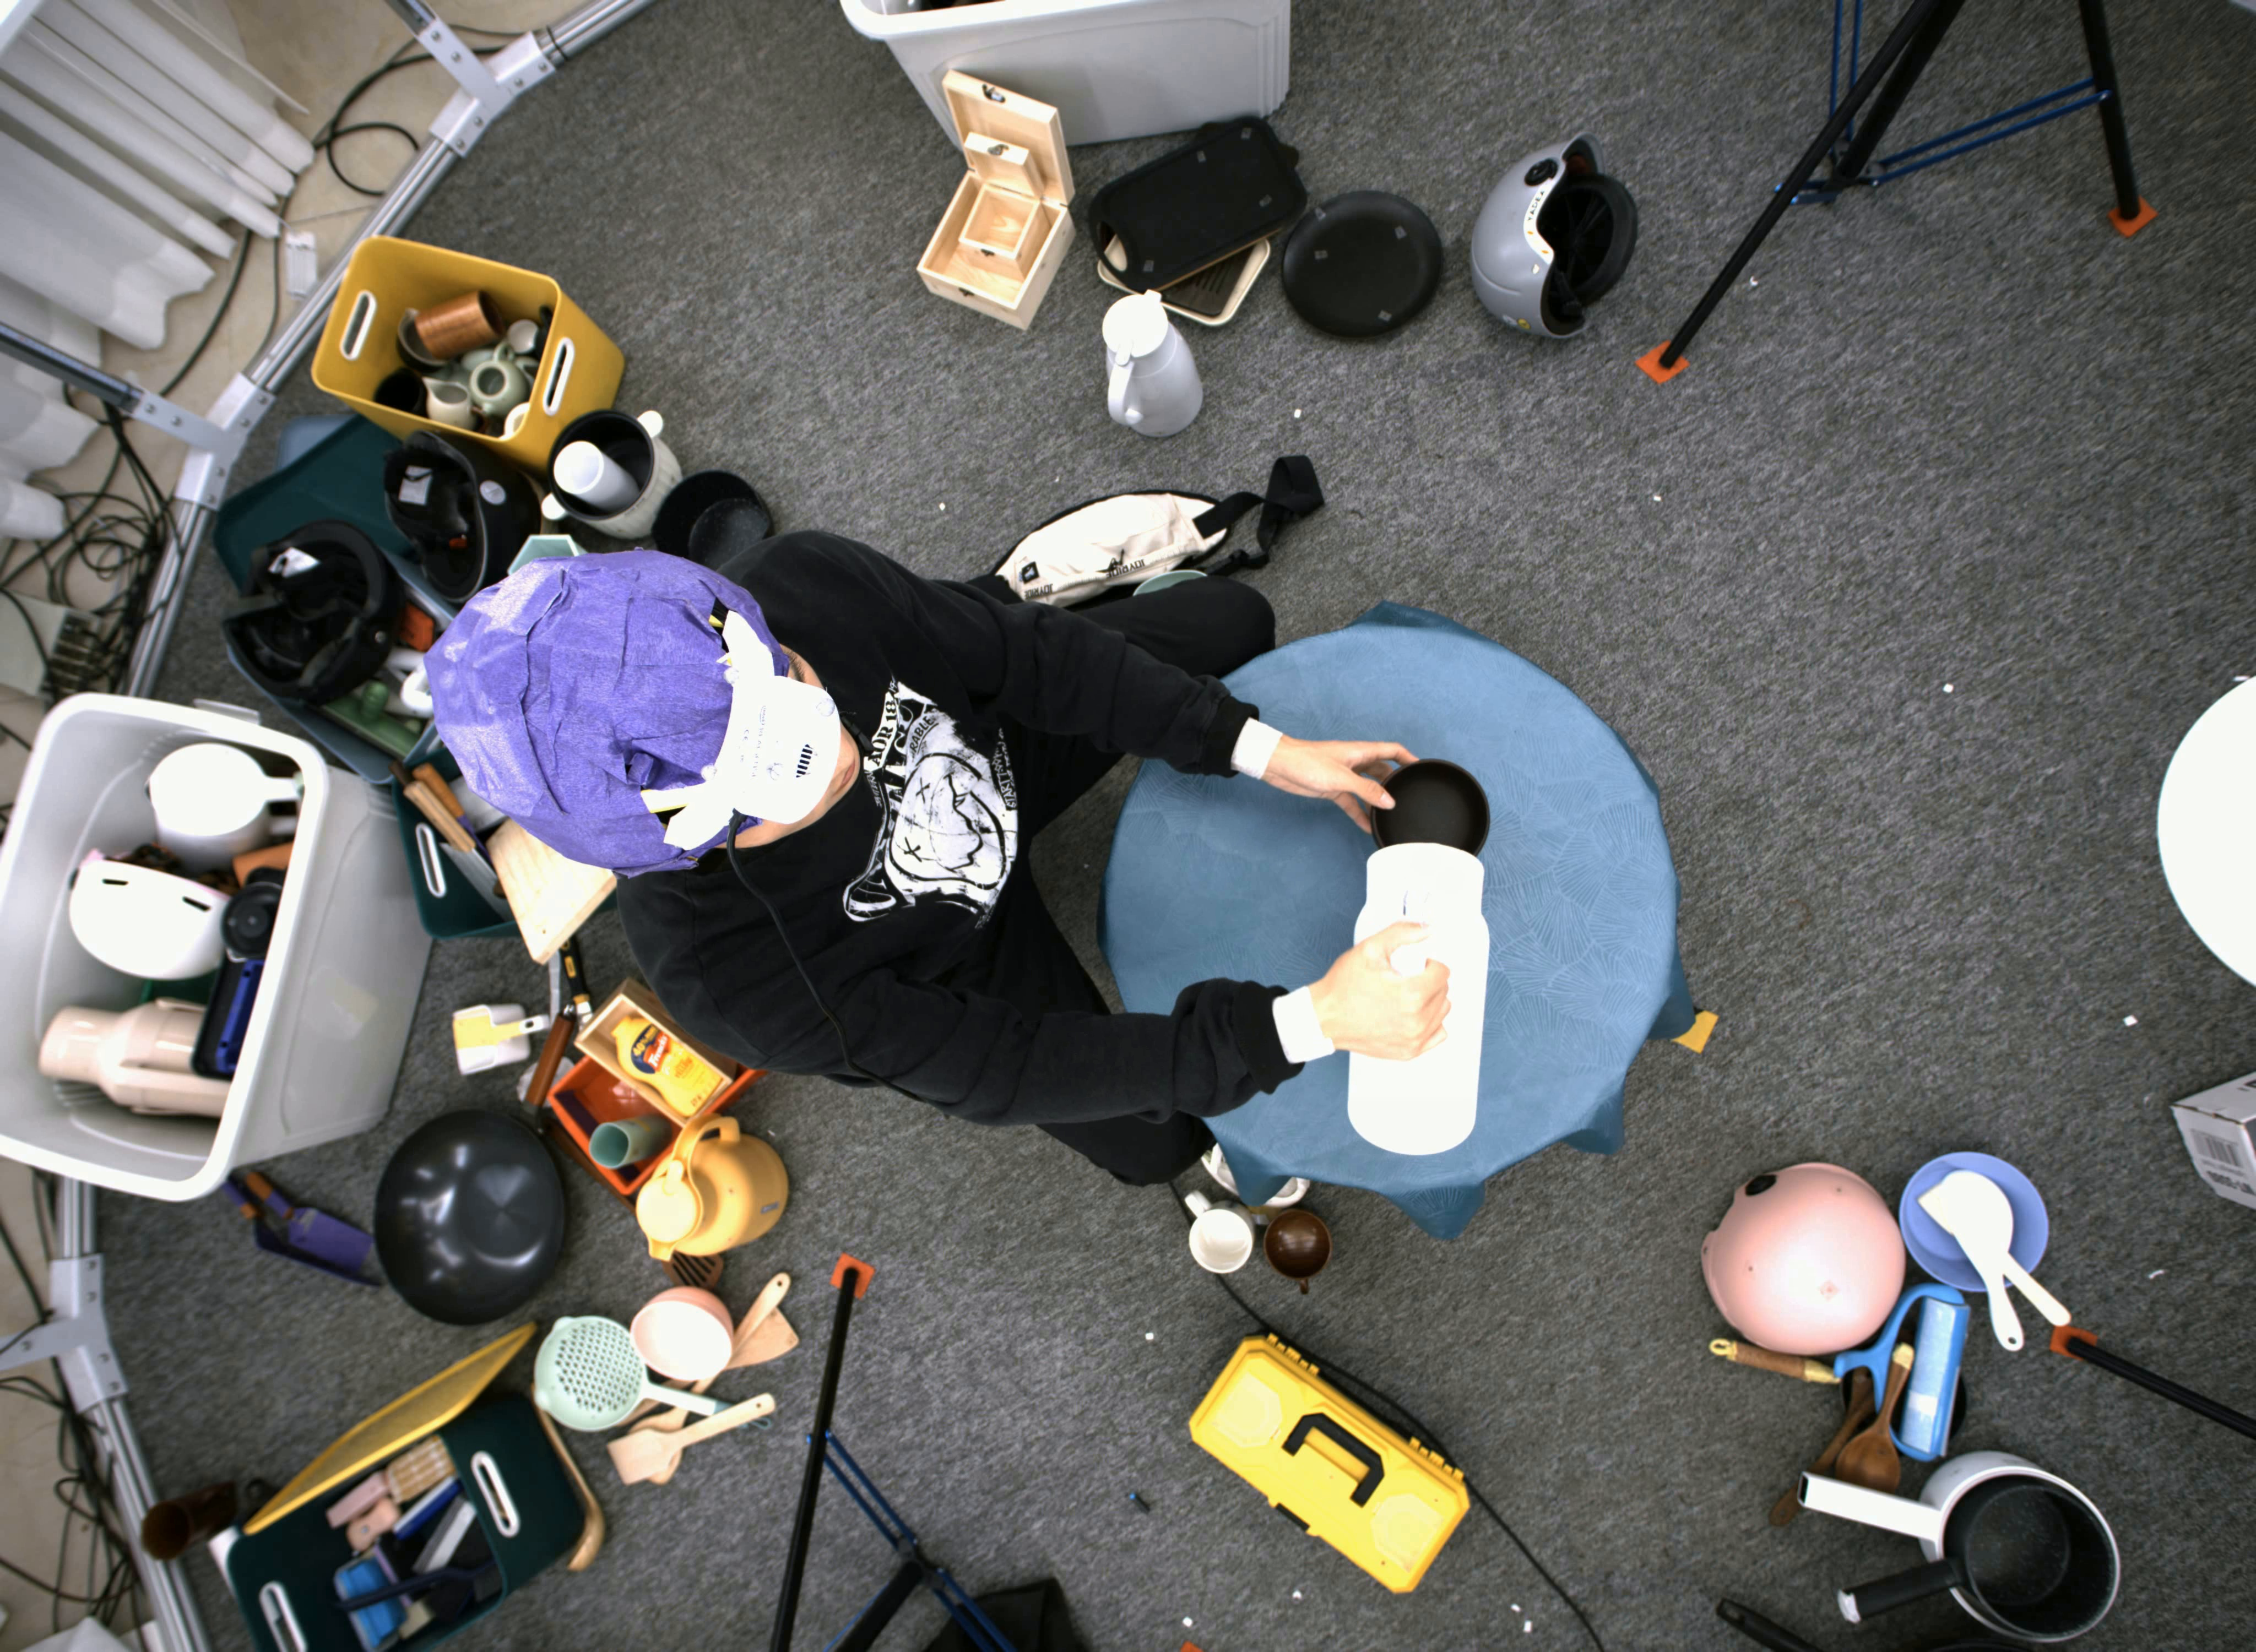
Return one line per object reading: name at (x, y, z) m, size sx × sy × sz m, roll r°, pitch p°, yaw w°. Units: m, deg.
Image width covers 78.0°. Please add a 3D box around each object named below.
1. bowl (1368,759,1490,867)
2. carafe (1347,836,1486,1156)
bowl at (0.296, -0.006, 1.362) m, size 0.118 × 0.070 × 0.117 m, roll -1°, pitch 88°, yaw 10°
carafe at (0.254, 0.161, 1.222) m, size 0.124 × 0.169 × 0.274 m, roll 7°, pitch 117°, yaw 16°
